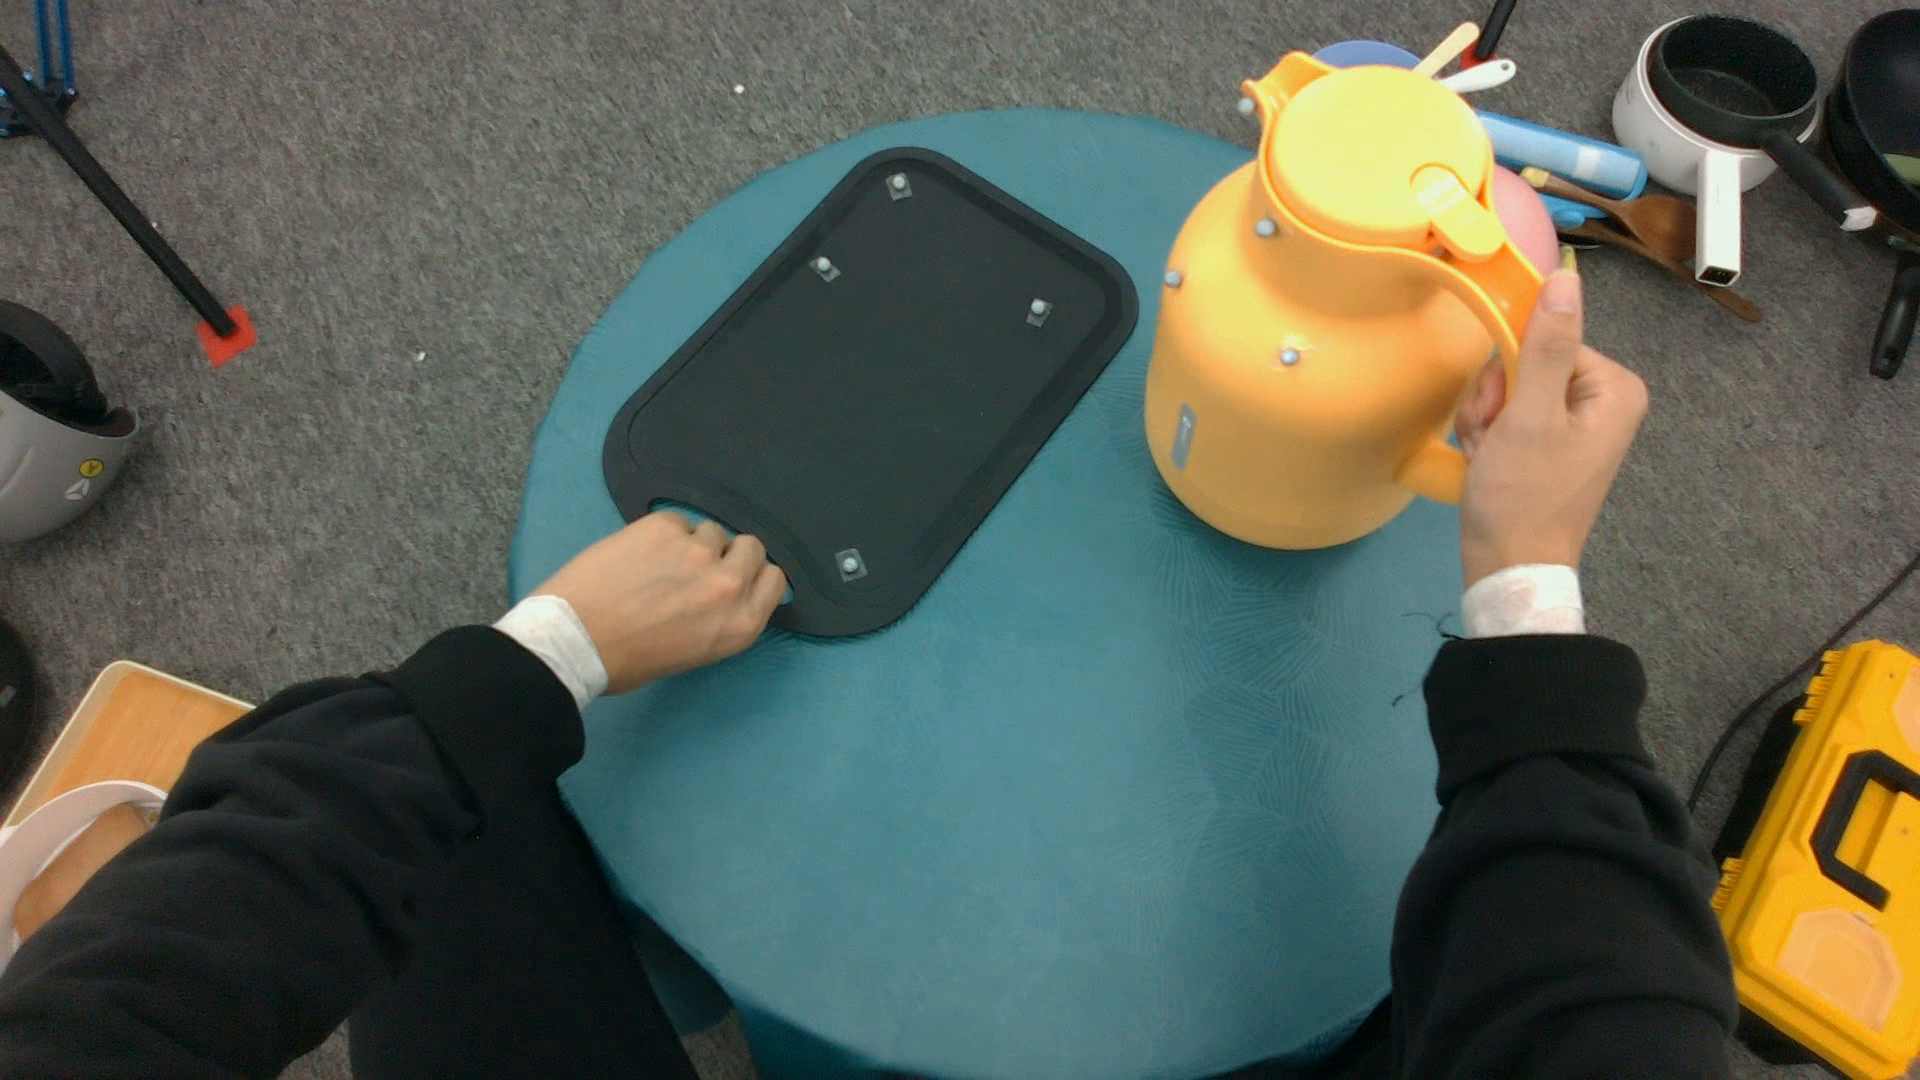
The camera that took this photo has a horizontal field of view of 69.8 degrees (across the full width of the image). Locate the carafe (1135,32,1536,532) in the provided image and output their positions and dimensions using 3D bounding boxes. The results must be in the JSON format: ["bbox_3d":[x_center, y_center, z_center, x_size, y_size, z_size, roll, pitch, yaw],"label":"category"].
[{"bbox_3d":[0.179,-0.107,0.676,0.163,0.259,0.203,-33,65,-9],"label":"carafe"}]

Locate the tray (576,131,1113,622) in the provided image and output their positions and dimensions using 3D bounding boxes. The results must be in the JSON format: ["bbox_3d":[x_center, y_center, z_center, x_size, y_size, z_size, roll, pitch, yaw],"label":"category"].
[{"bbox_3d":[-0.066,-0.103,0.805,0.211,0.010,0.326,34,68,12],"label":"tray"}]
